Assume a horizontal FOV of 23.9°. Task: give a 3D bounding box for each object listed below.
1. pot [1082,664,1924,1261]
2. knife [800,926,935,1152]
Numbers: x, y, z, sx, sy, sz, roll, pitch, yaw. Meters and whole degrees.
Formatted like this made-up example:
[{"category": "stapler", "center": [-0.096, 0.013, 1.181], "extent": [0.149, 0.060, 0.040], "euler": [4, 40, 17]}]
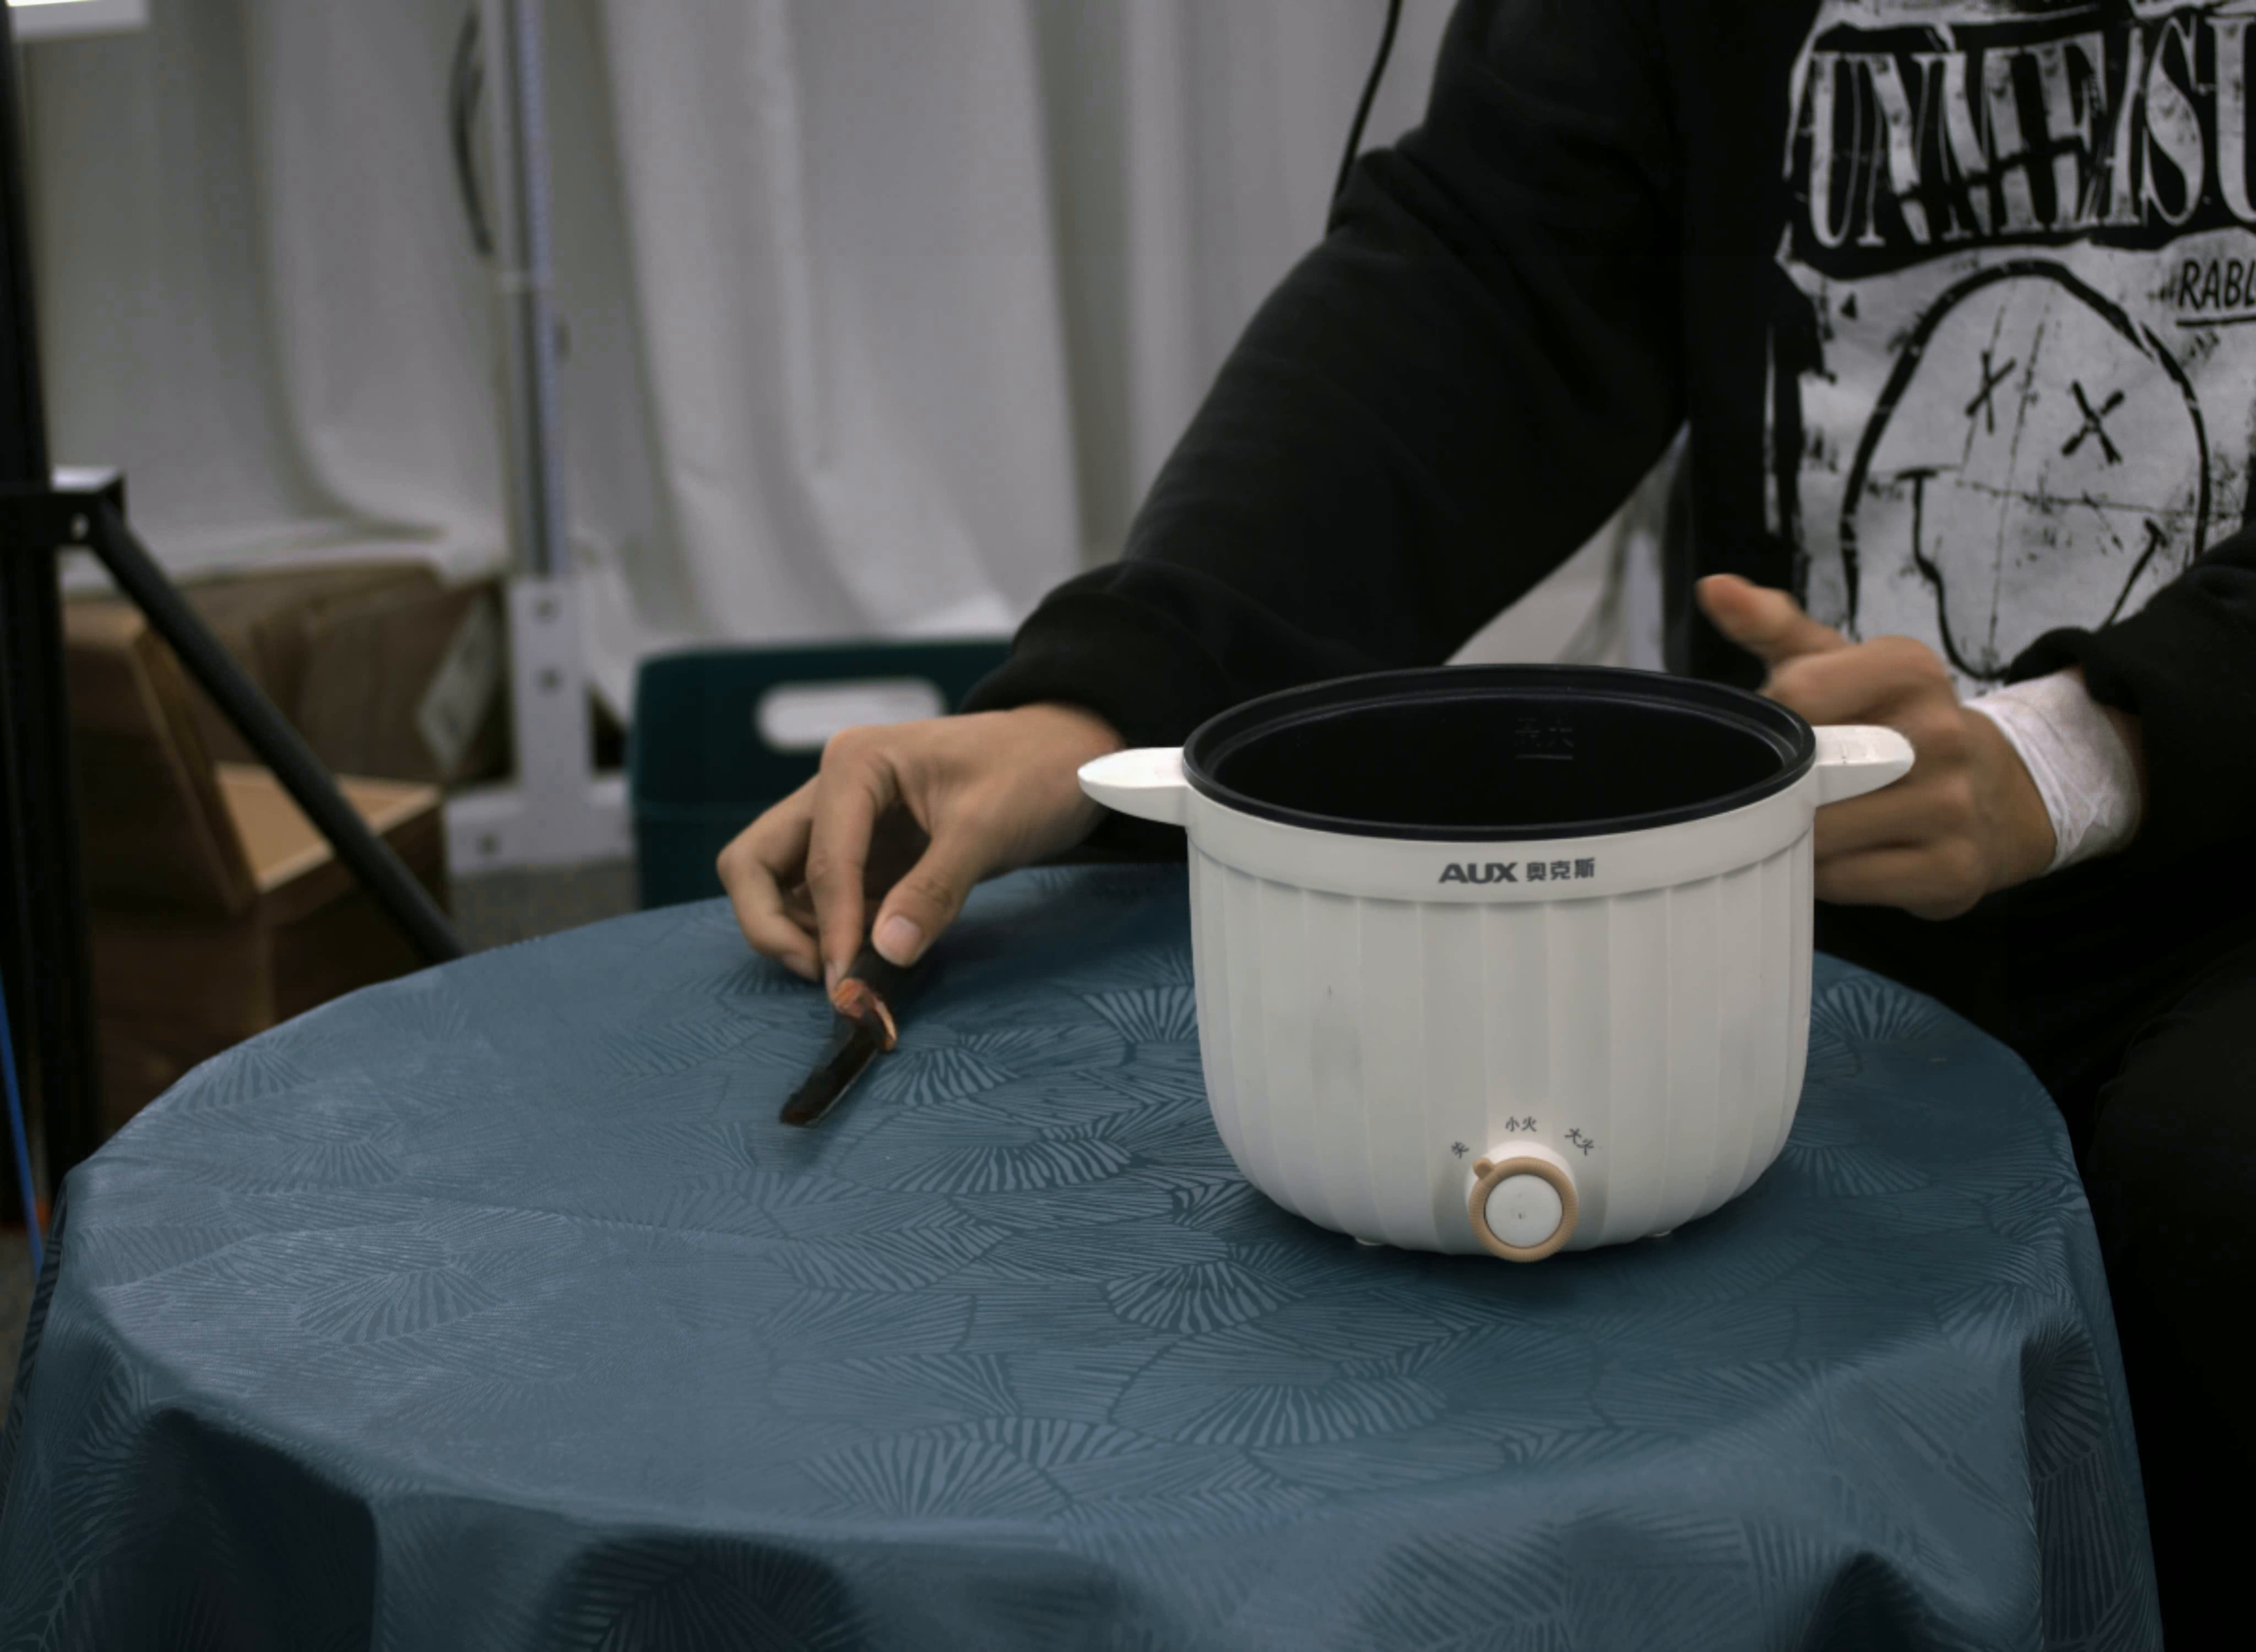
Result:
[{"category": "pot", "center": [0.110, 0.041, 1.518], "extent": [0.240, 0.143, 0.191], "euler": [-3, 12, 2]}, {"category": "knife", "center": [-0.085, 0.066, 1.689], "extent": [0.017, 0.026, 0.225], "euler": [-43, 5, 14]}]
